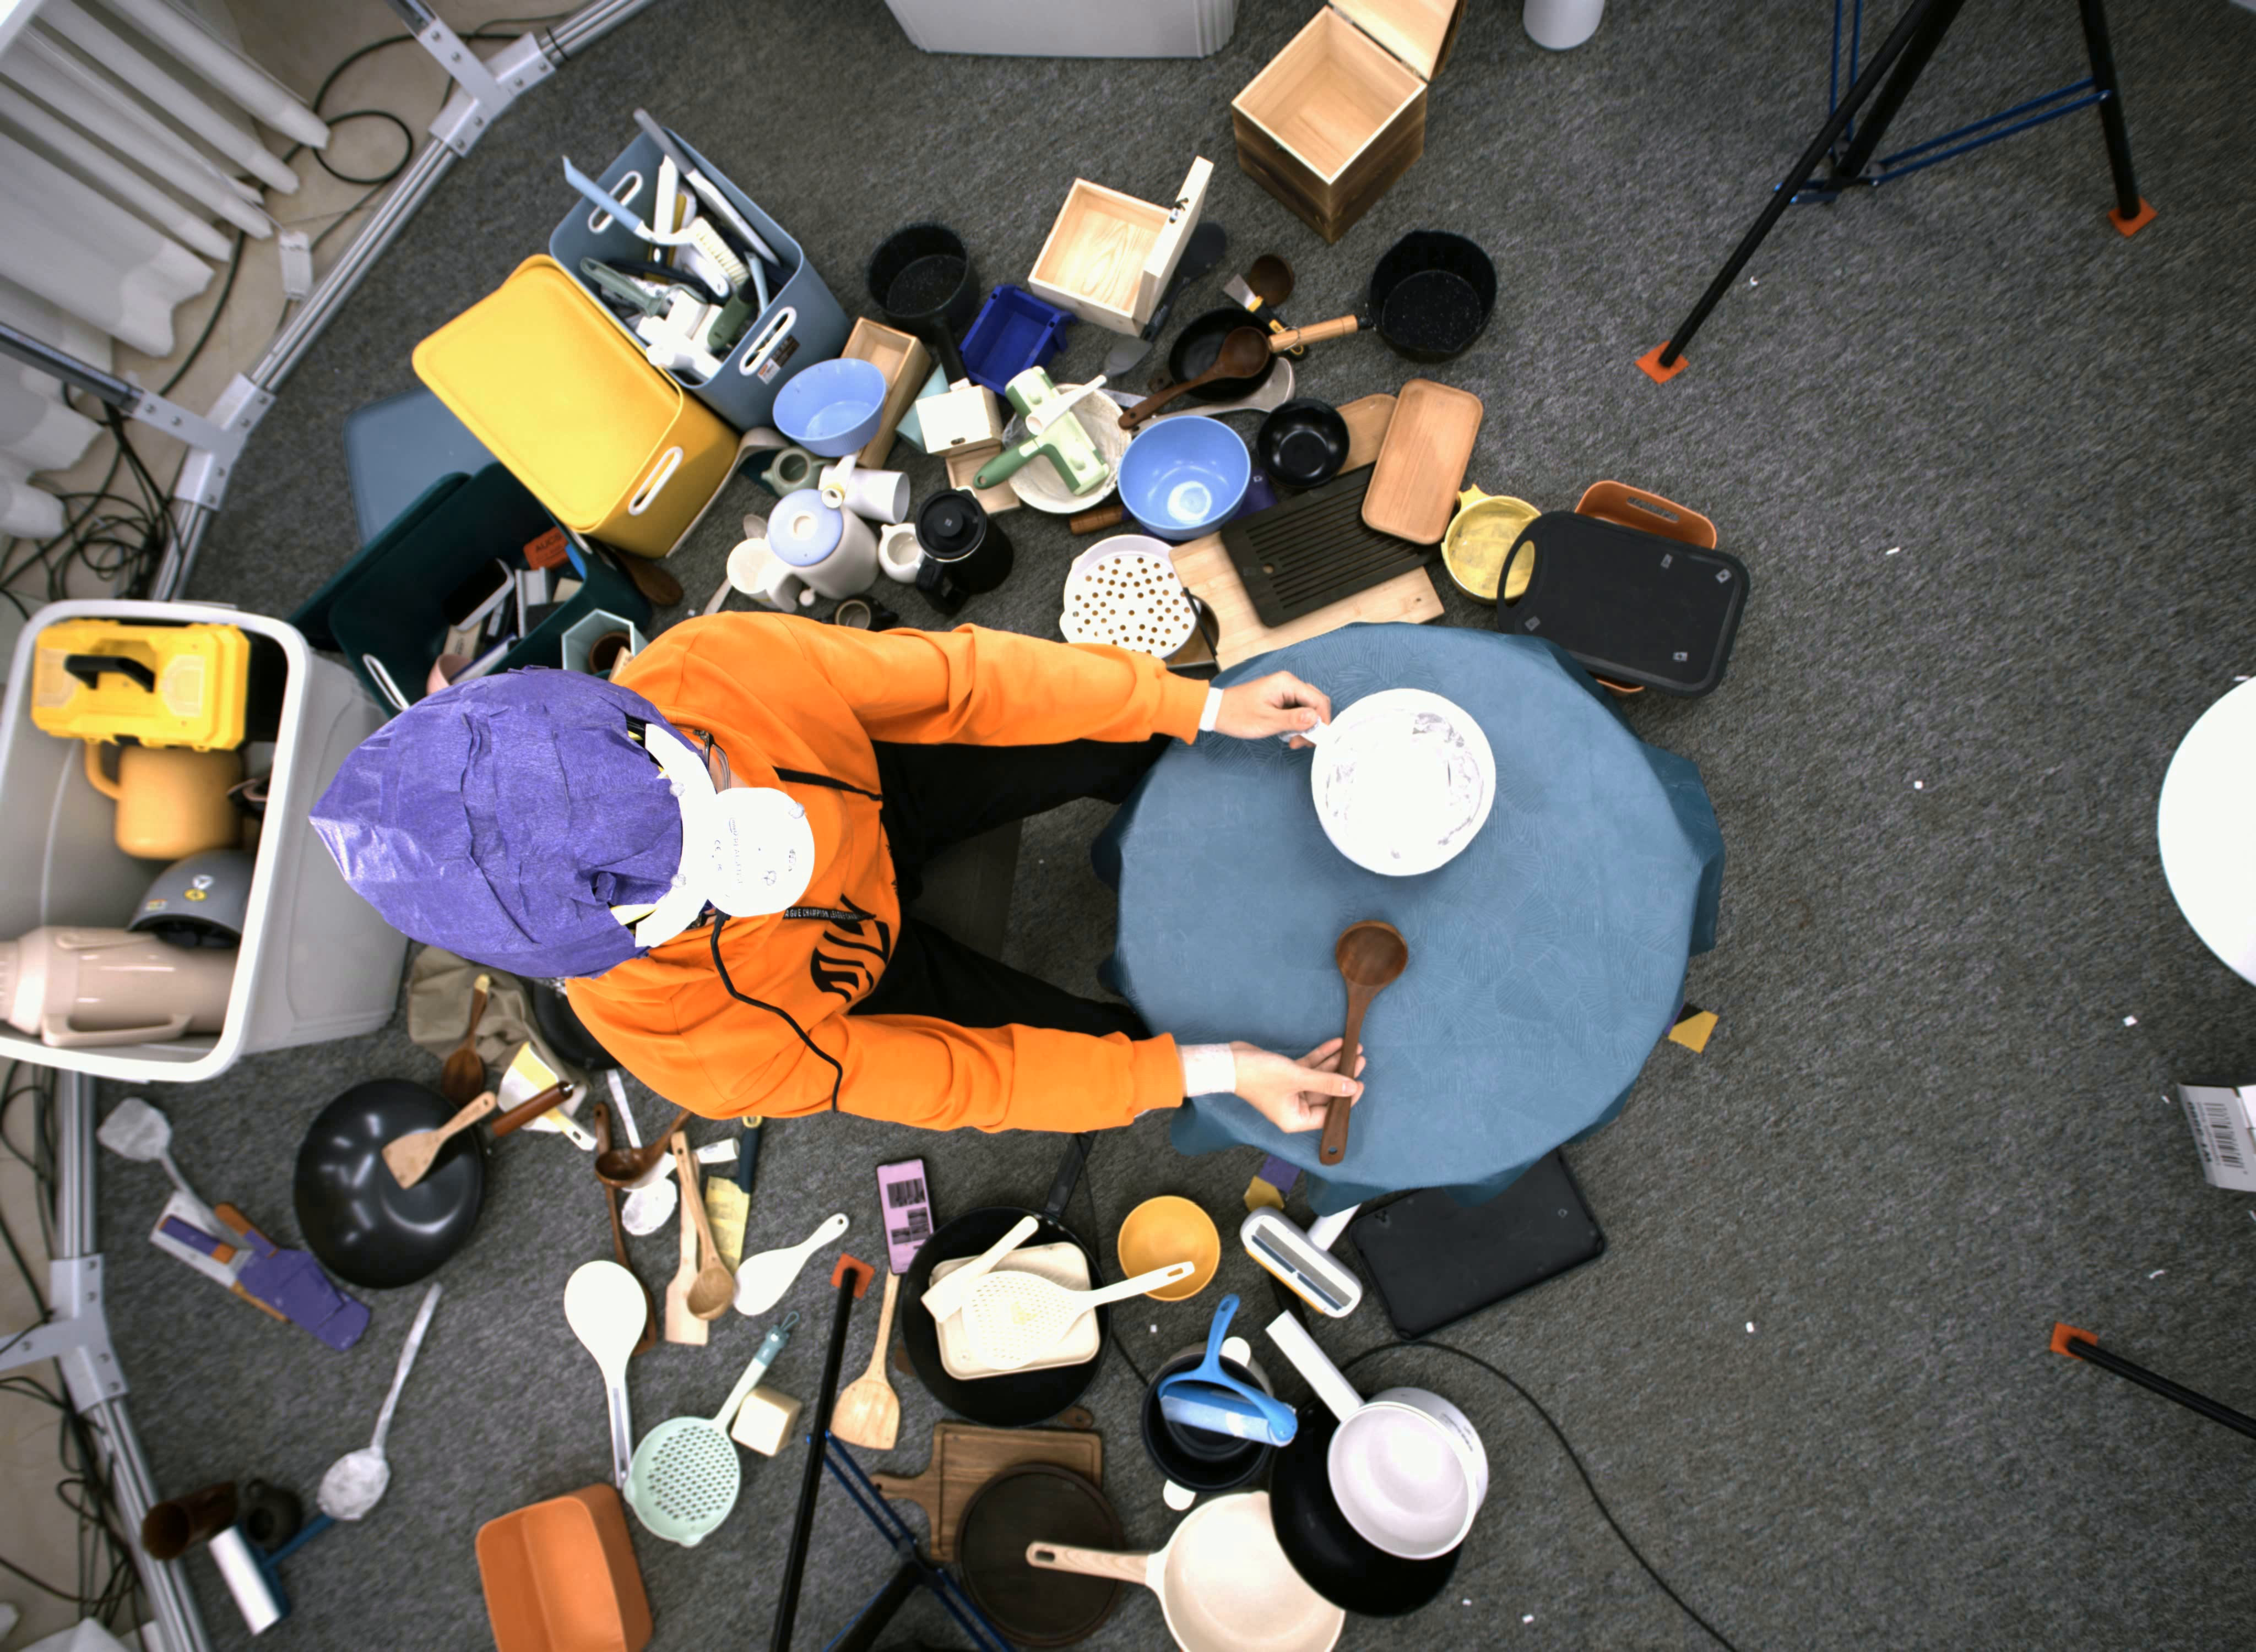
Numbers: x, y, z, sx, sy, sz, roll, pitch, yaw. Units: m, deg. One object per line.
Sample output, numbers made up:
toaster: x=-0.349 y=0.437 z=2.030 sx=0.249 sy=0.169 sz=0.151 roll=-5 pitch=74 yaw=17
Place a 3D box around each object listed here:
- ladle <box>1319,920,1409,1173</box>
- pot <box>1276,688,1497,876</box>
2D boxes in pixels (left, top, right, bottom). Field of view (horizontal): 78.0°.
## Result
ladle: x=0.231 y=0.223 z=1.416 sx=0.076 sy=0.065 sz=0.257 roll=11 pitch=79 yaw=12
pot: x=0.253 y=-0.055 z=1.400 sx=0.233 sy=0.137 sz=0.179 roll=31 pitch=91 yaw=10
